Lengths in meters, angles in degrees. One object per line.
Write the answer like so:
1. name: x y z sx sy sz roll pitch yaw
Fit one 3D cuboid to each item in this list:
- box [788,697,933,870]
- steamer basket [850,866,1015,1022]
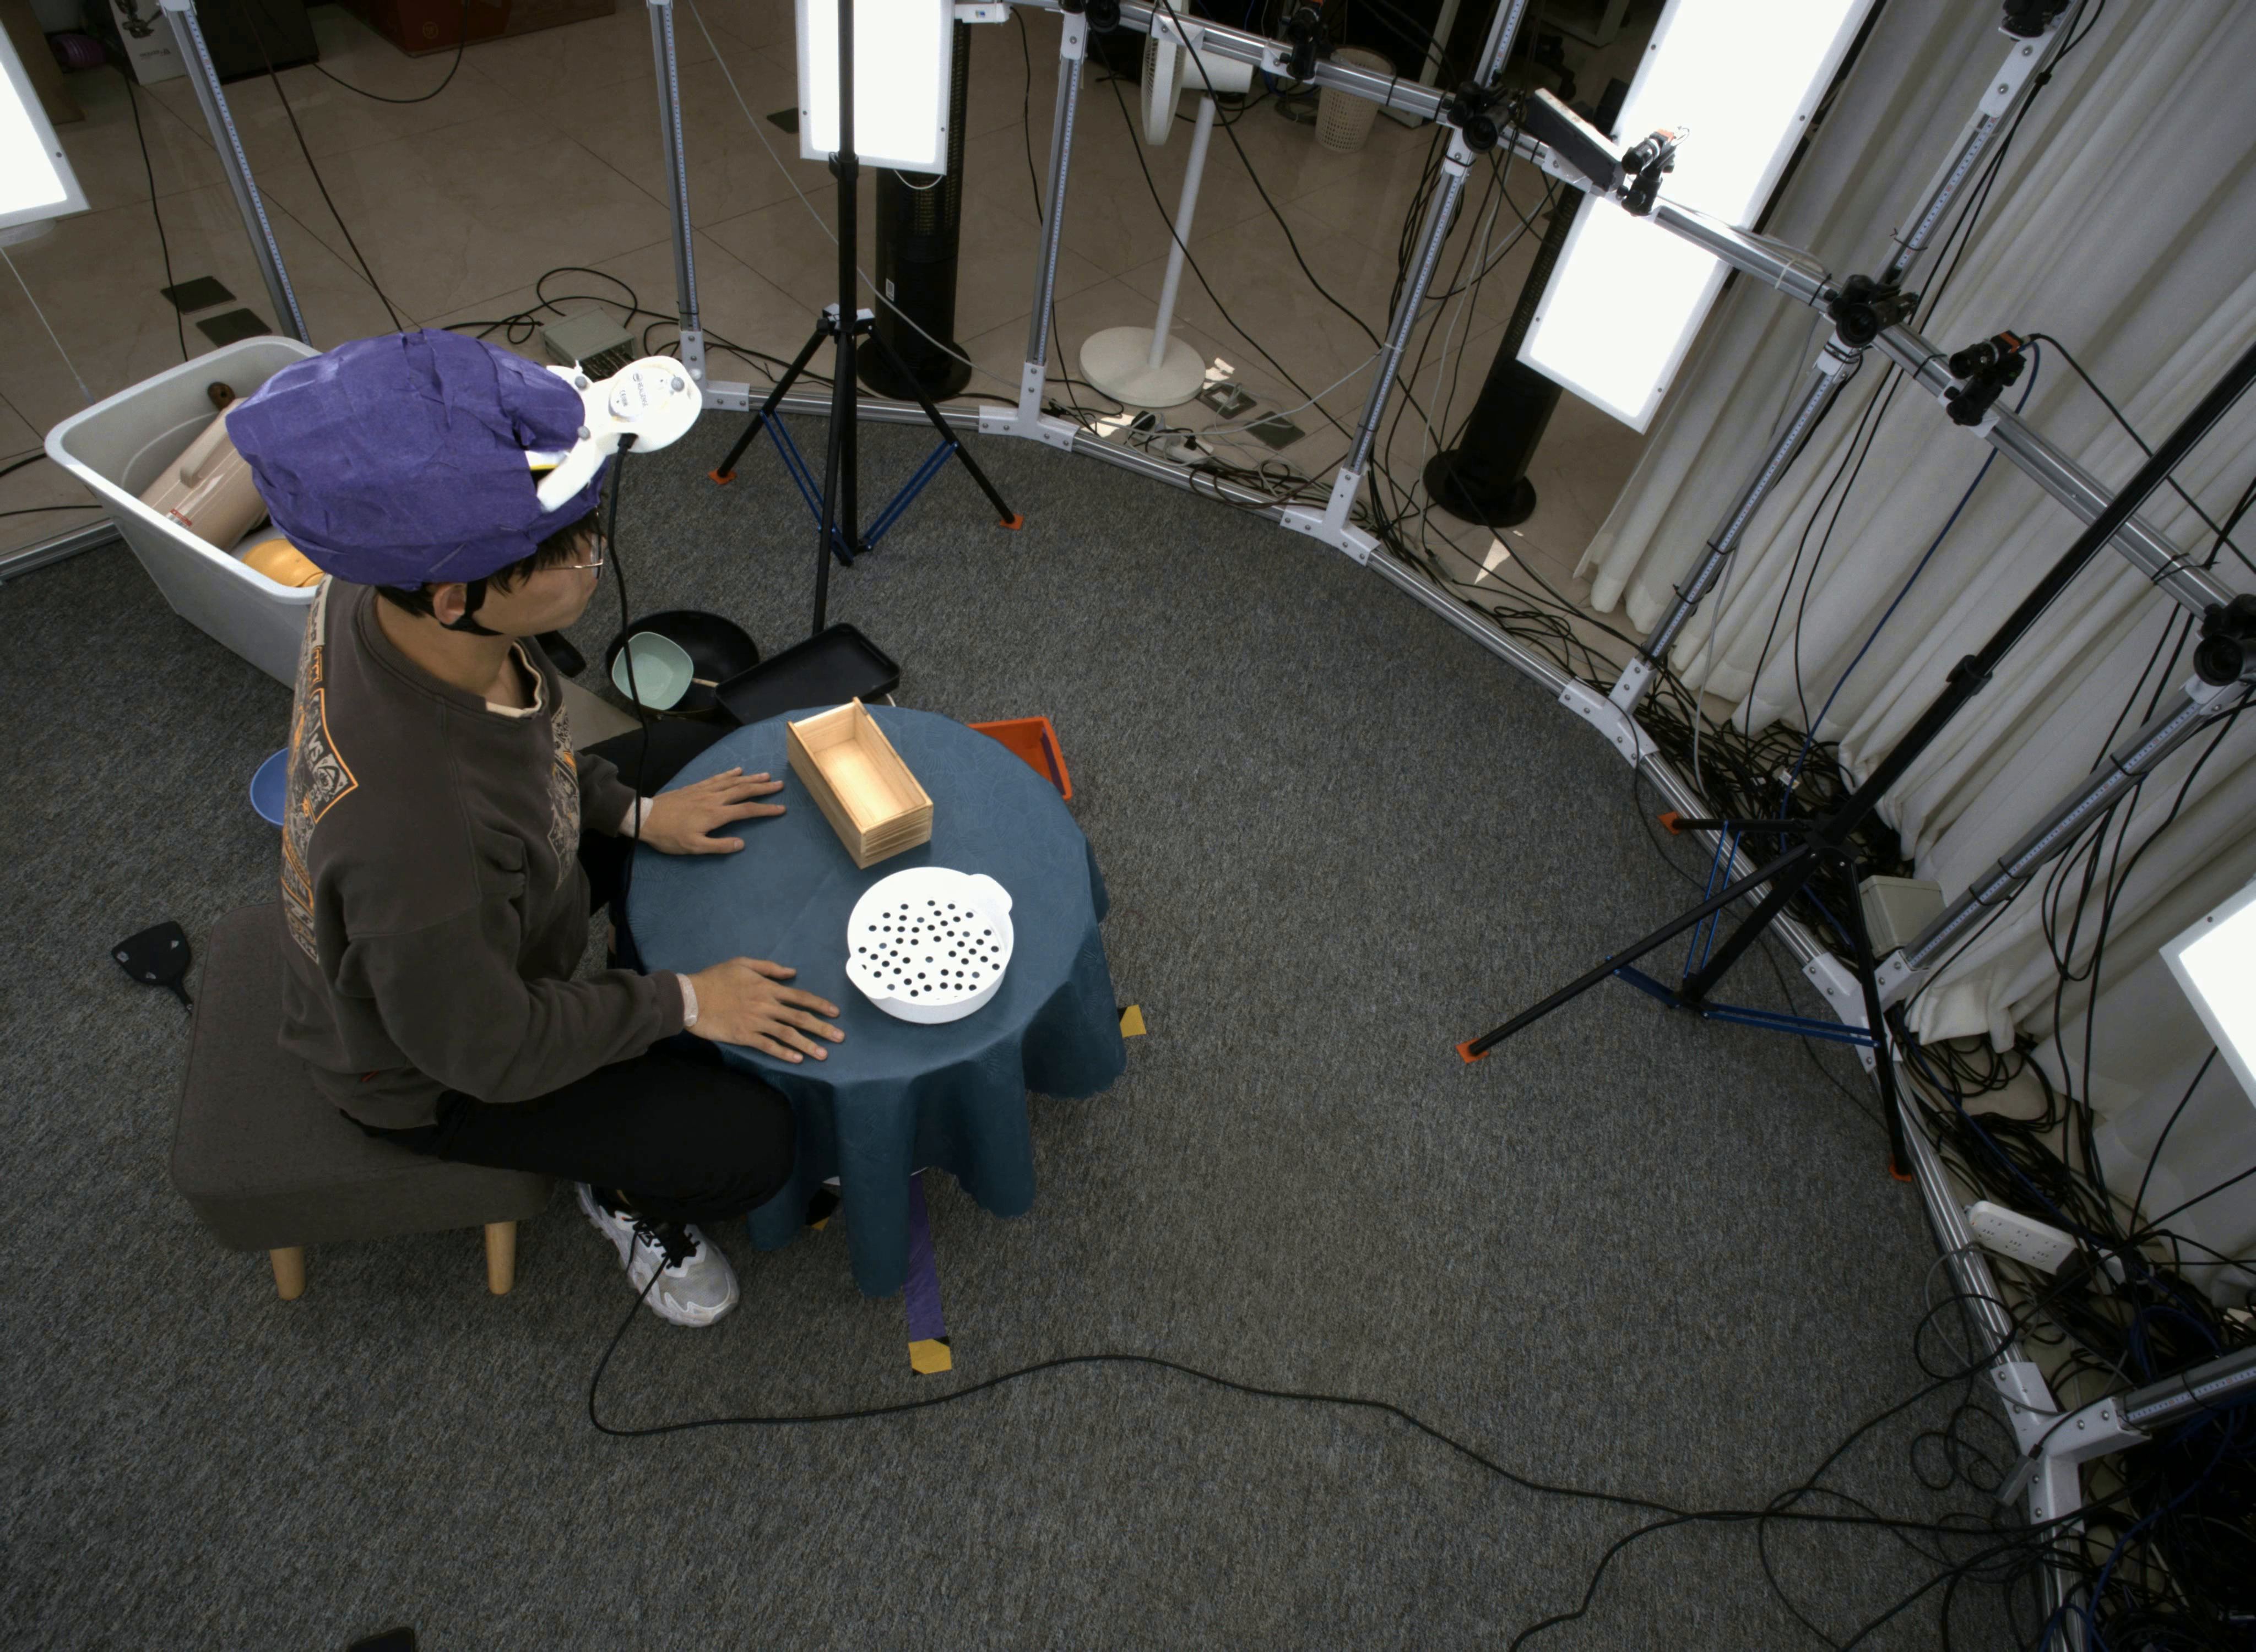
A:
1. box: -0.360 -0.059 1.746 0.108 0.082 0.206 -26 63 -27
2. steamer basket: -0.243 0.148 1.631 0.197 0.071 0.231 42 57 19
